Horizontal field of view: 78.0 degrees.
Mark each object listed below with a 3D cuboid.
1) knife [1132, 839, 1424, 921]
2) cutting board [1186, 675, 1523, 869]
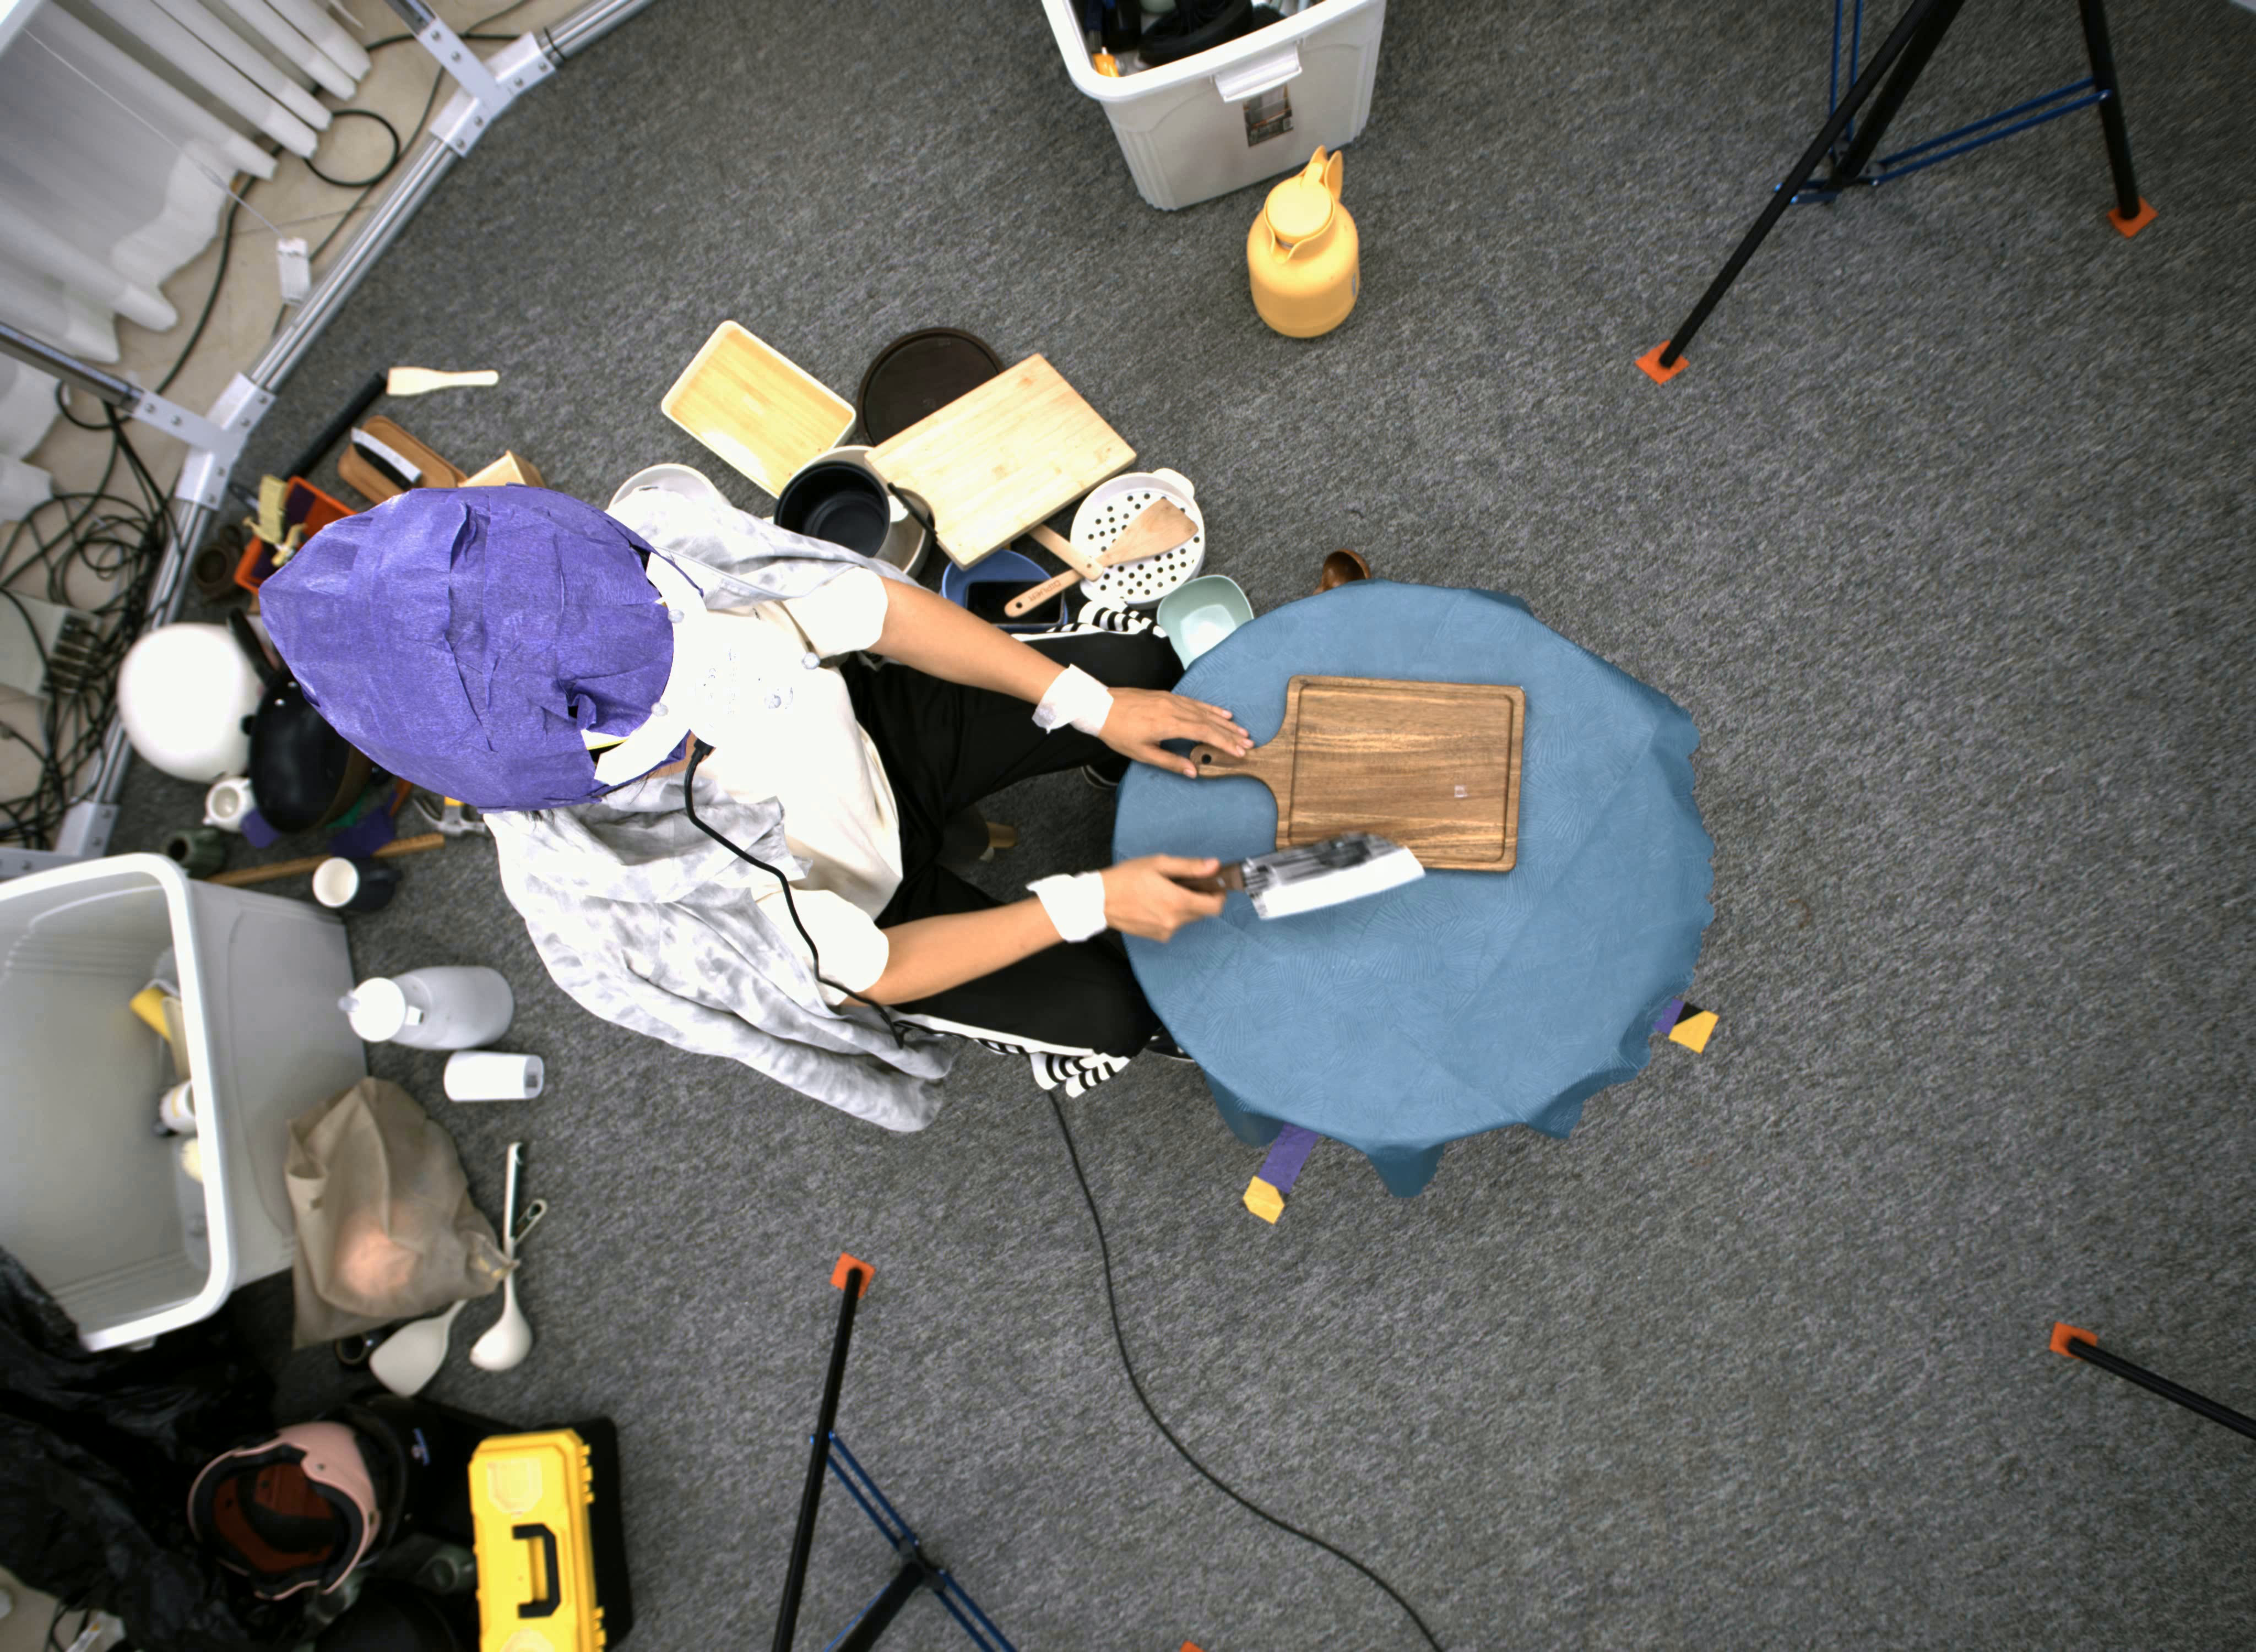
[{"bbox_3d":[0.147,0.062,1.397,0.303,0.023,0.069,-14,112,24],"label":"knife"},{"bbox_3d":[0.237,-0.063,1.461,0.353,0.023,0.200,3,87,11],"label":"cutting board"}]
